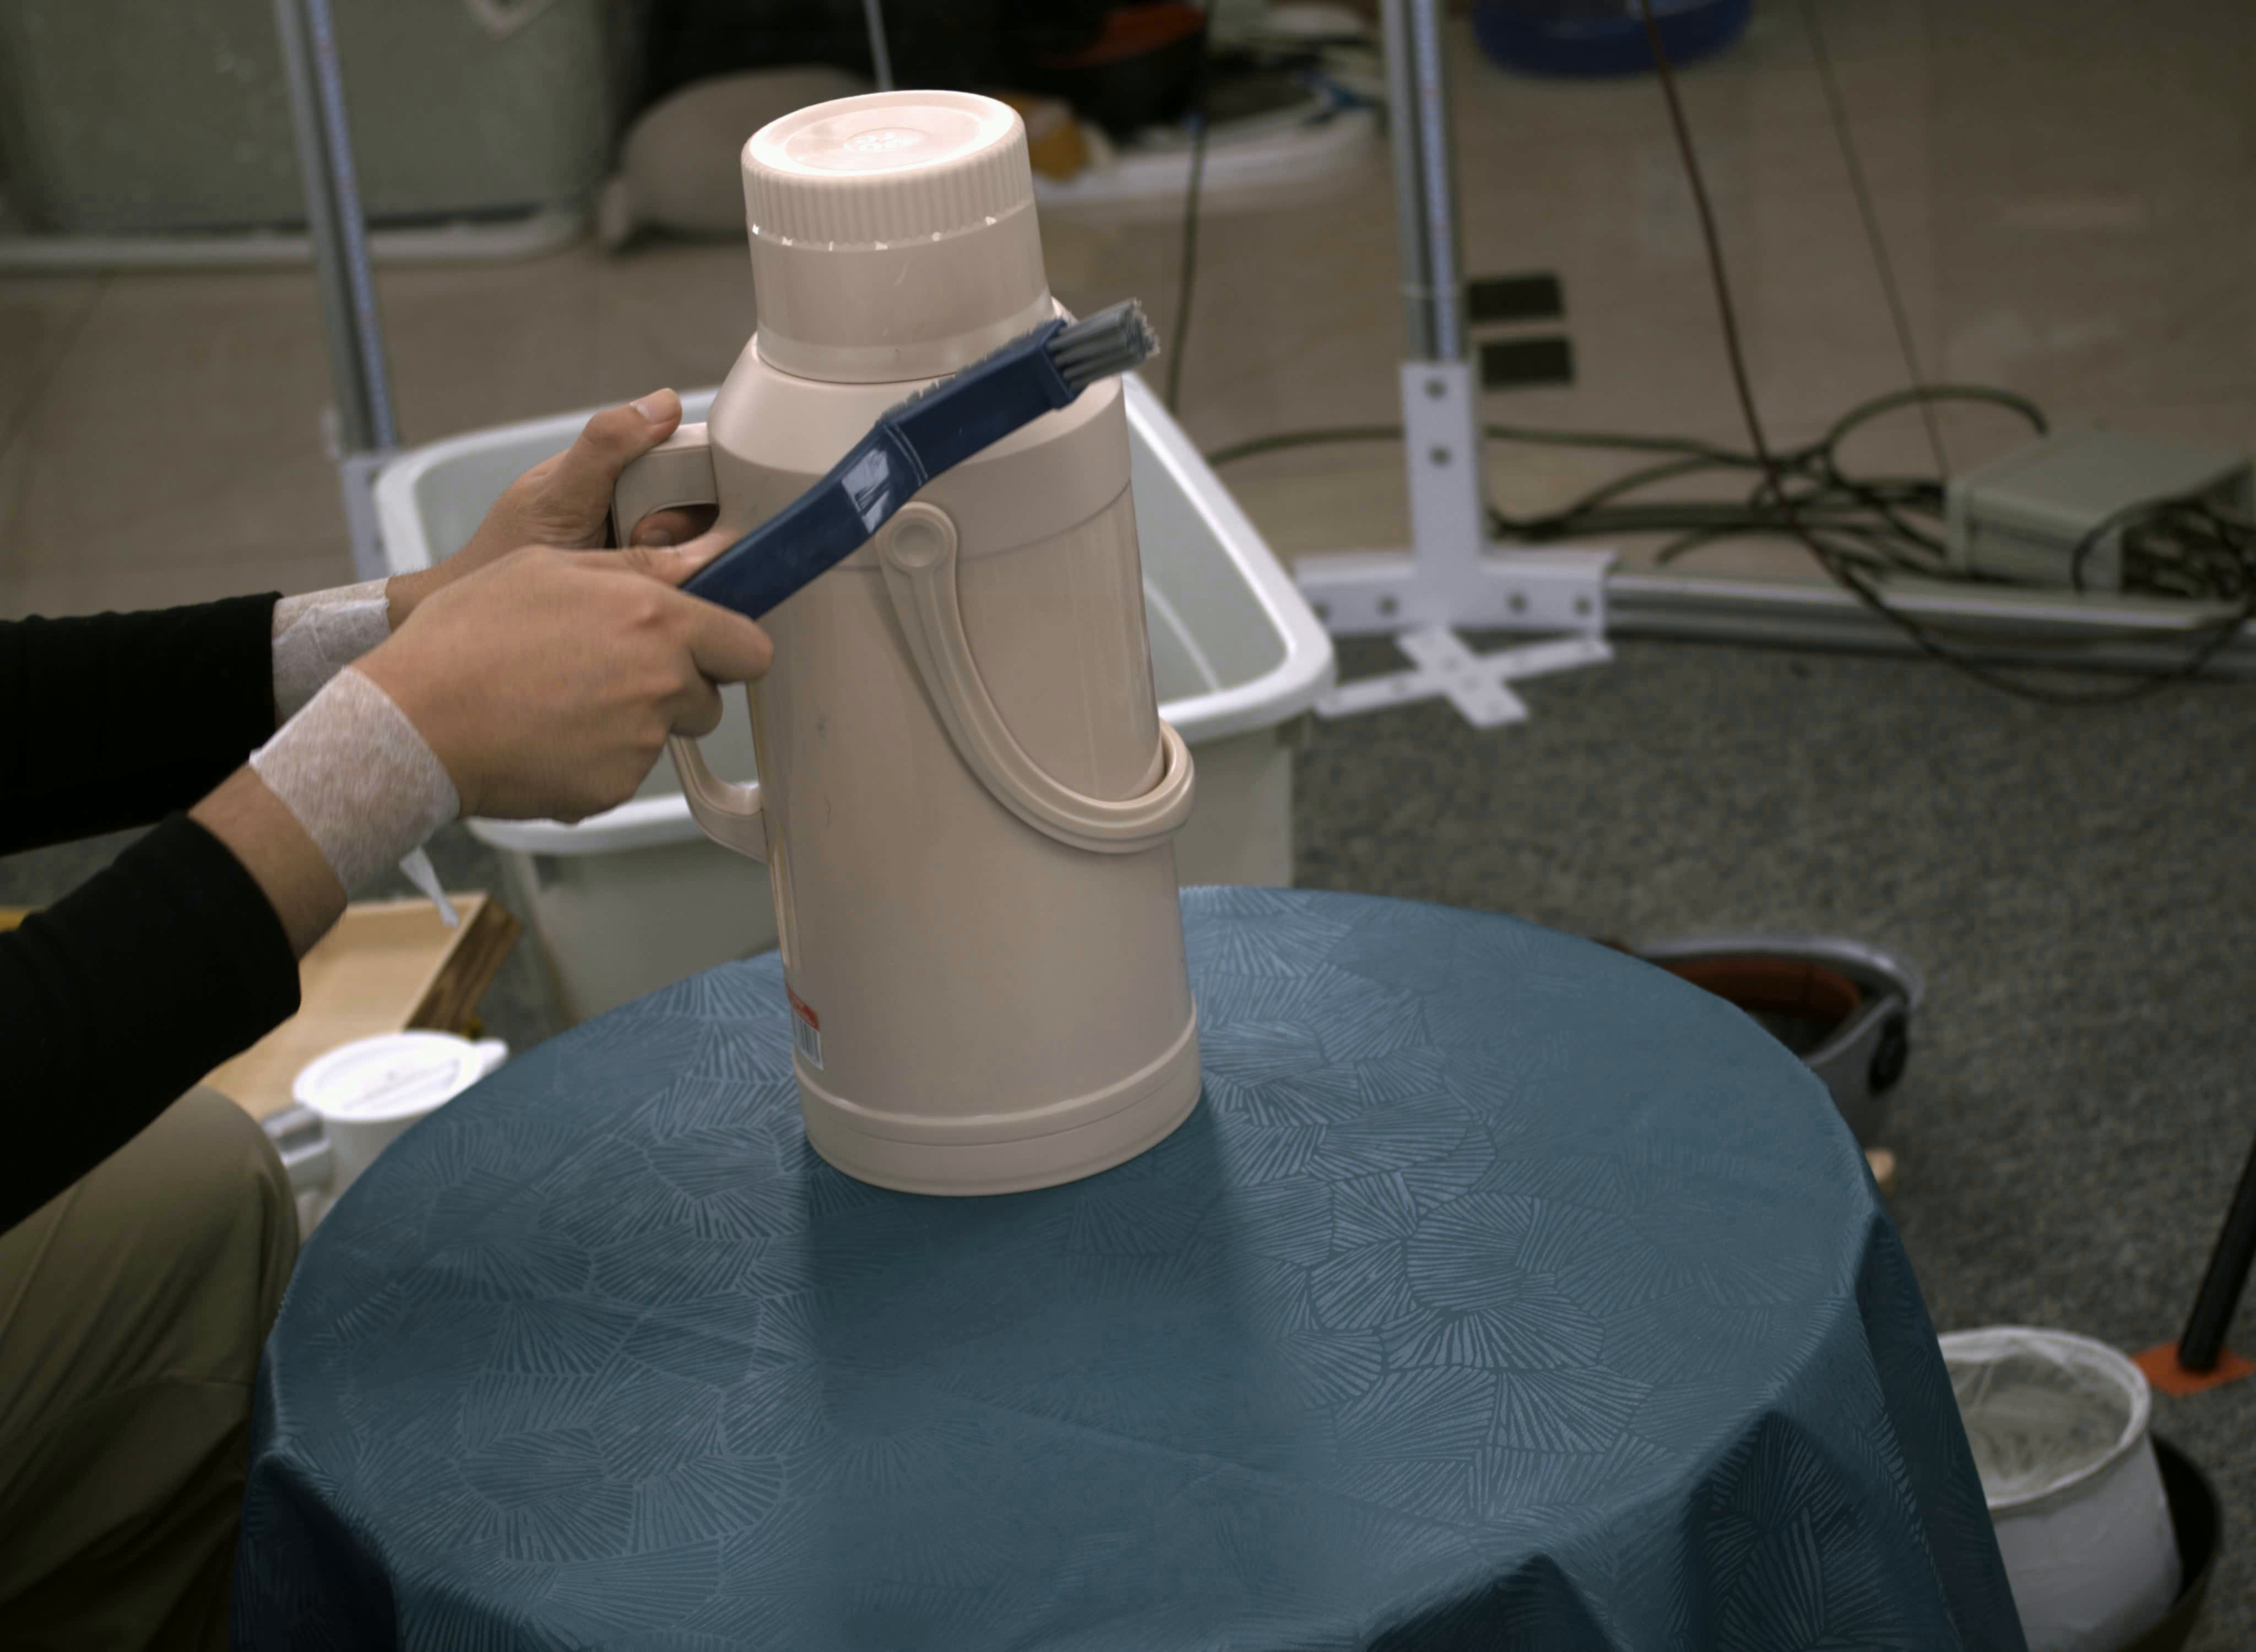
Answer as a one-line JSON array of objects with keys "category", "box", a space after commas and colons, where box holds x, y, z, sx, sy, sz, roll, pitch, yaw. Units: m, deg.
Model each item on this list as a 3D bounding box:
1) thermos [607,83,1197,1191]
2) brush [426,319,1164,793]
[{"category": "thermos", "box": [-0.084, -0.071, 2.142, 0.207, 0.413, 0.172, -6, 27, 1]}, {"category": "brush", "box": [-0.115, -0.098, 1.942, 0.271, 0.034, 0.095, -37, 22, -17]}]
